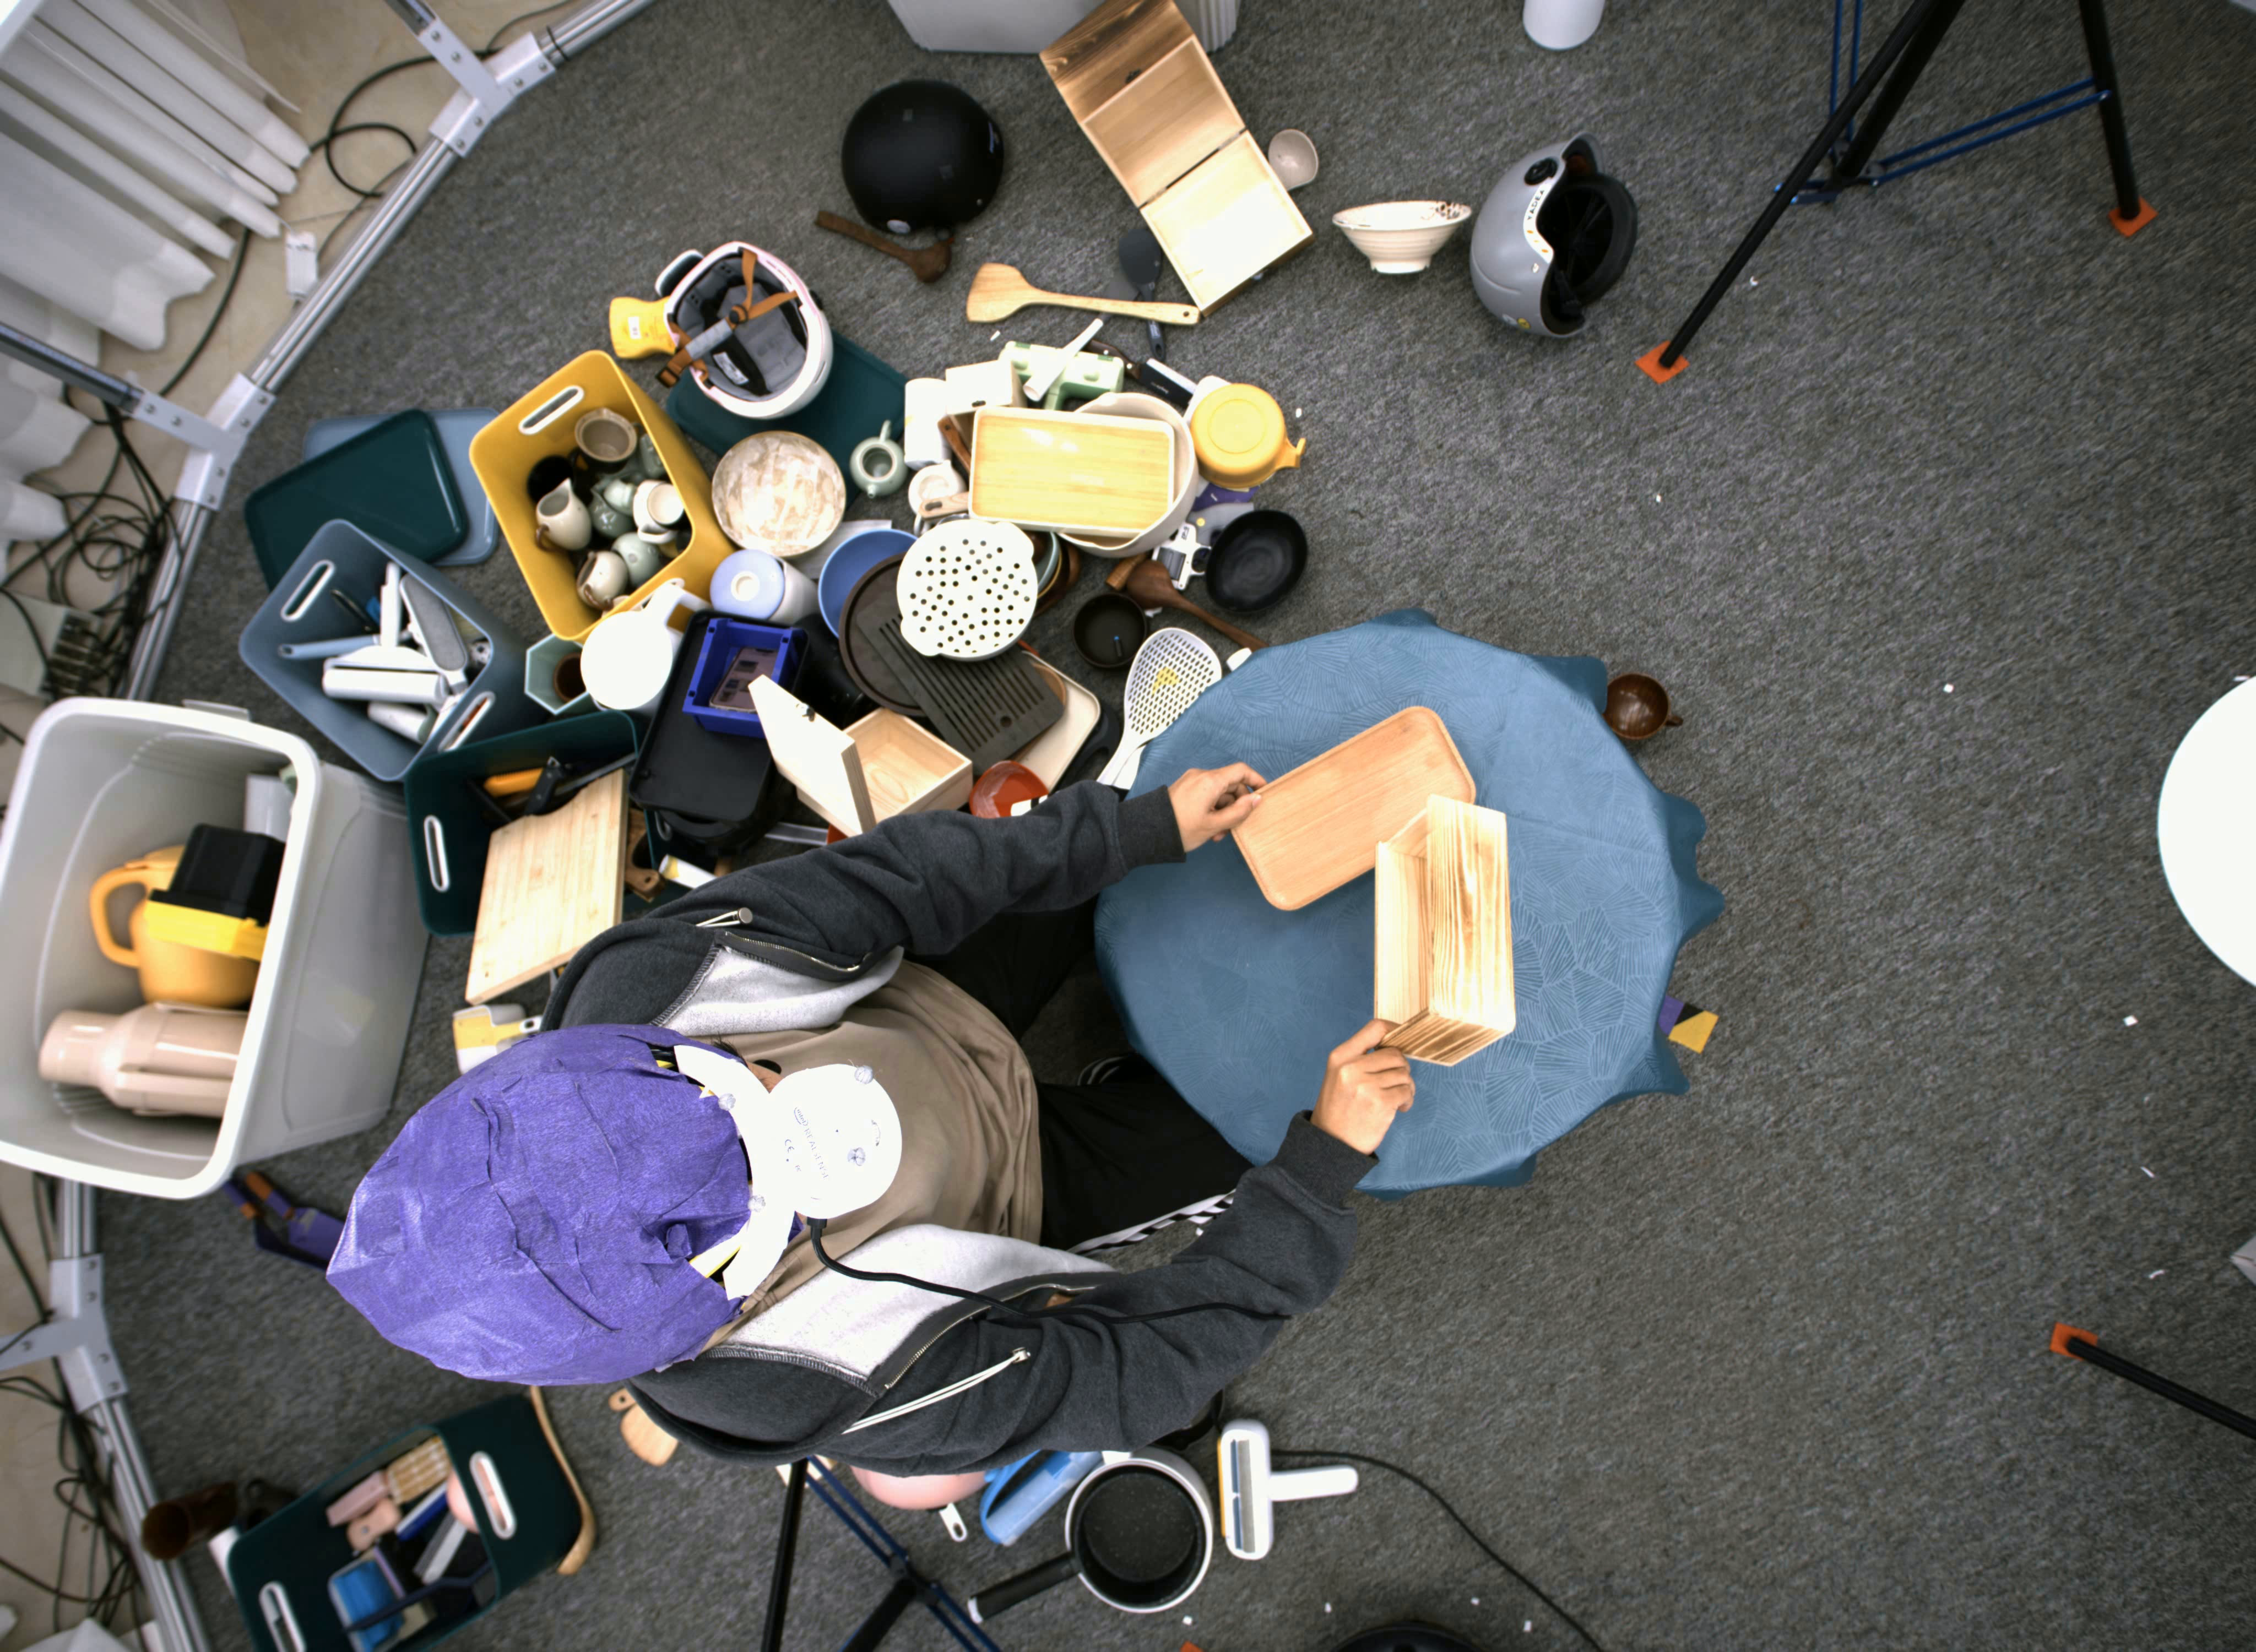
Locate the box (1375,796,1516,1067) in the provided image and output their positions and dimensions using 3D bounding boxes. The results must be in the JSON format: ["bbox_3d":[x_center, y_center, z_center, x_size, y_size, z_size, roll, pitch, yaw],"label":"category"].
[{"bbox_3d":[0.282,0.094,1.237,0.080,0.110,0.206,13,62,-14],"label":"box"}]

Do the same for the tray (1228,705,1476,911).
[{"bbox_3d":[0.229,-0.020,1.409,0.250,0.023,0.130,-28,91,-4],"label":"tray"}]
